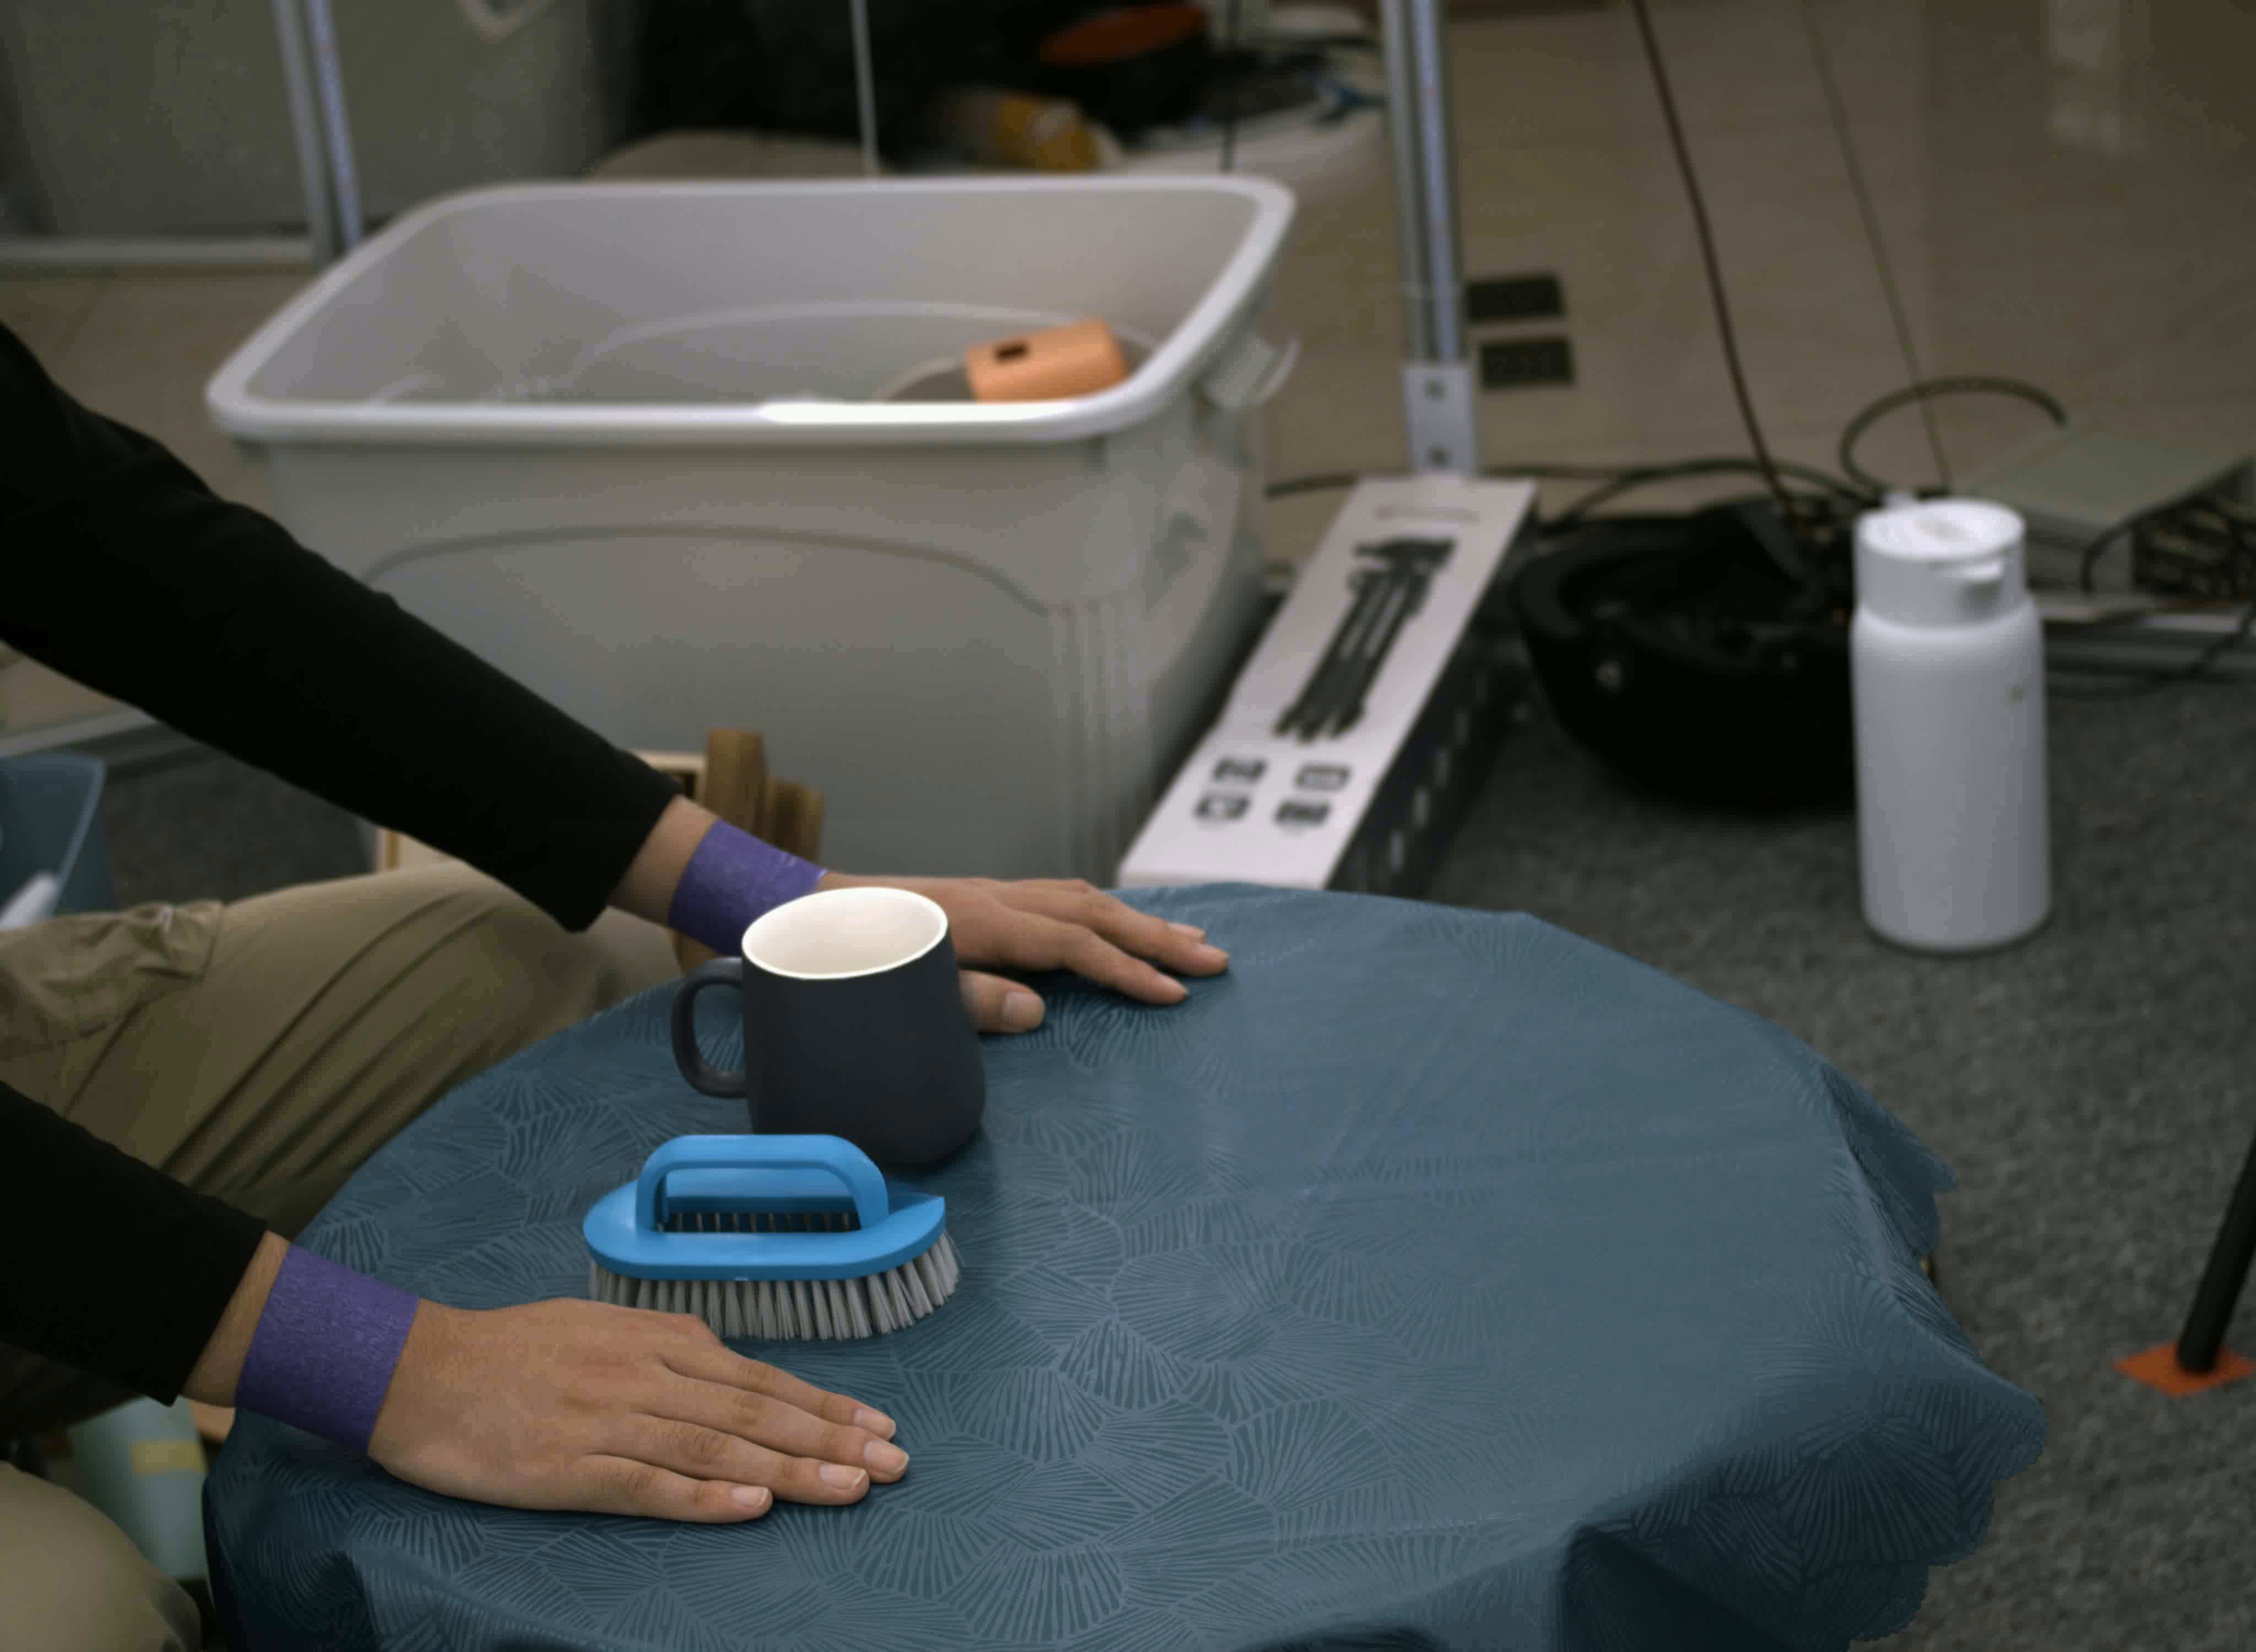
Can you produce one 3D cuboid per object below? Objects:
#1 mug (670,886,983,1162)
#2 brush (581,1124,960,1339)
[{"bbox_3d":[-0.119,0.078,2.192,0.123,0.091,0.092,4,27,18],"label":"mug"},{"bbox_3d":[-0.136,0.141,2.096,0.141,0.065,0.083,-1,31,14],"label":"brush"}]
